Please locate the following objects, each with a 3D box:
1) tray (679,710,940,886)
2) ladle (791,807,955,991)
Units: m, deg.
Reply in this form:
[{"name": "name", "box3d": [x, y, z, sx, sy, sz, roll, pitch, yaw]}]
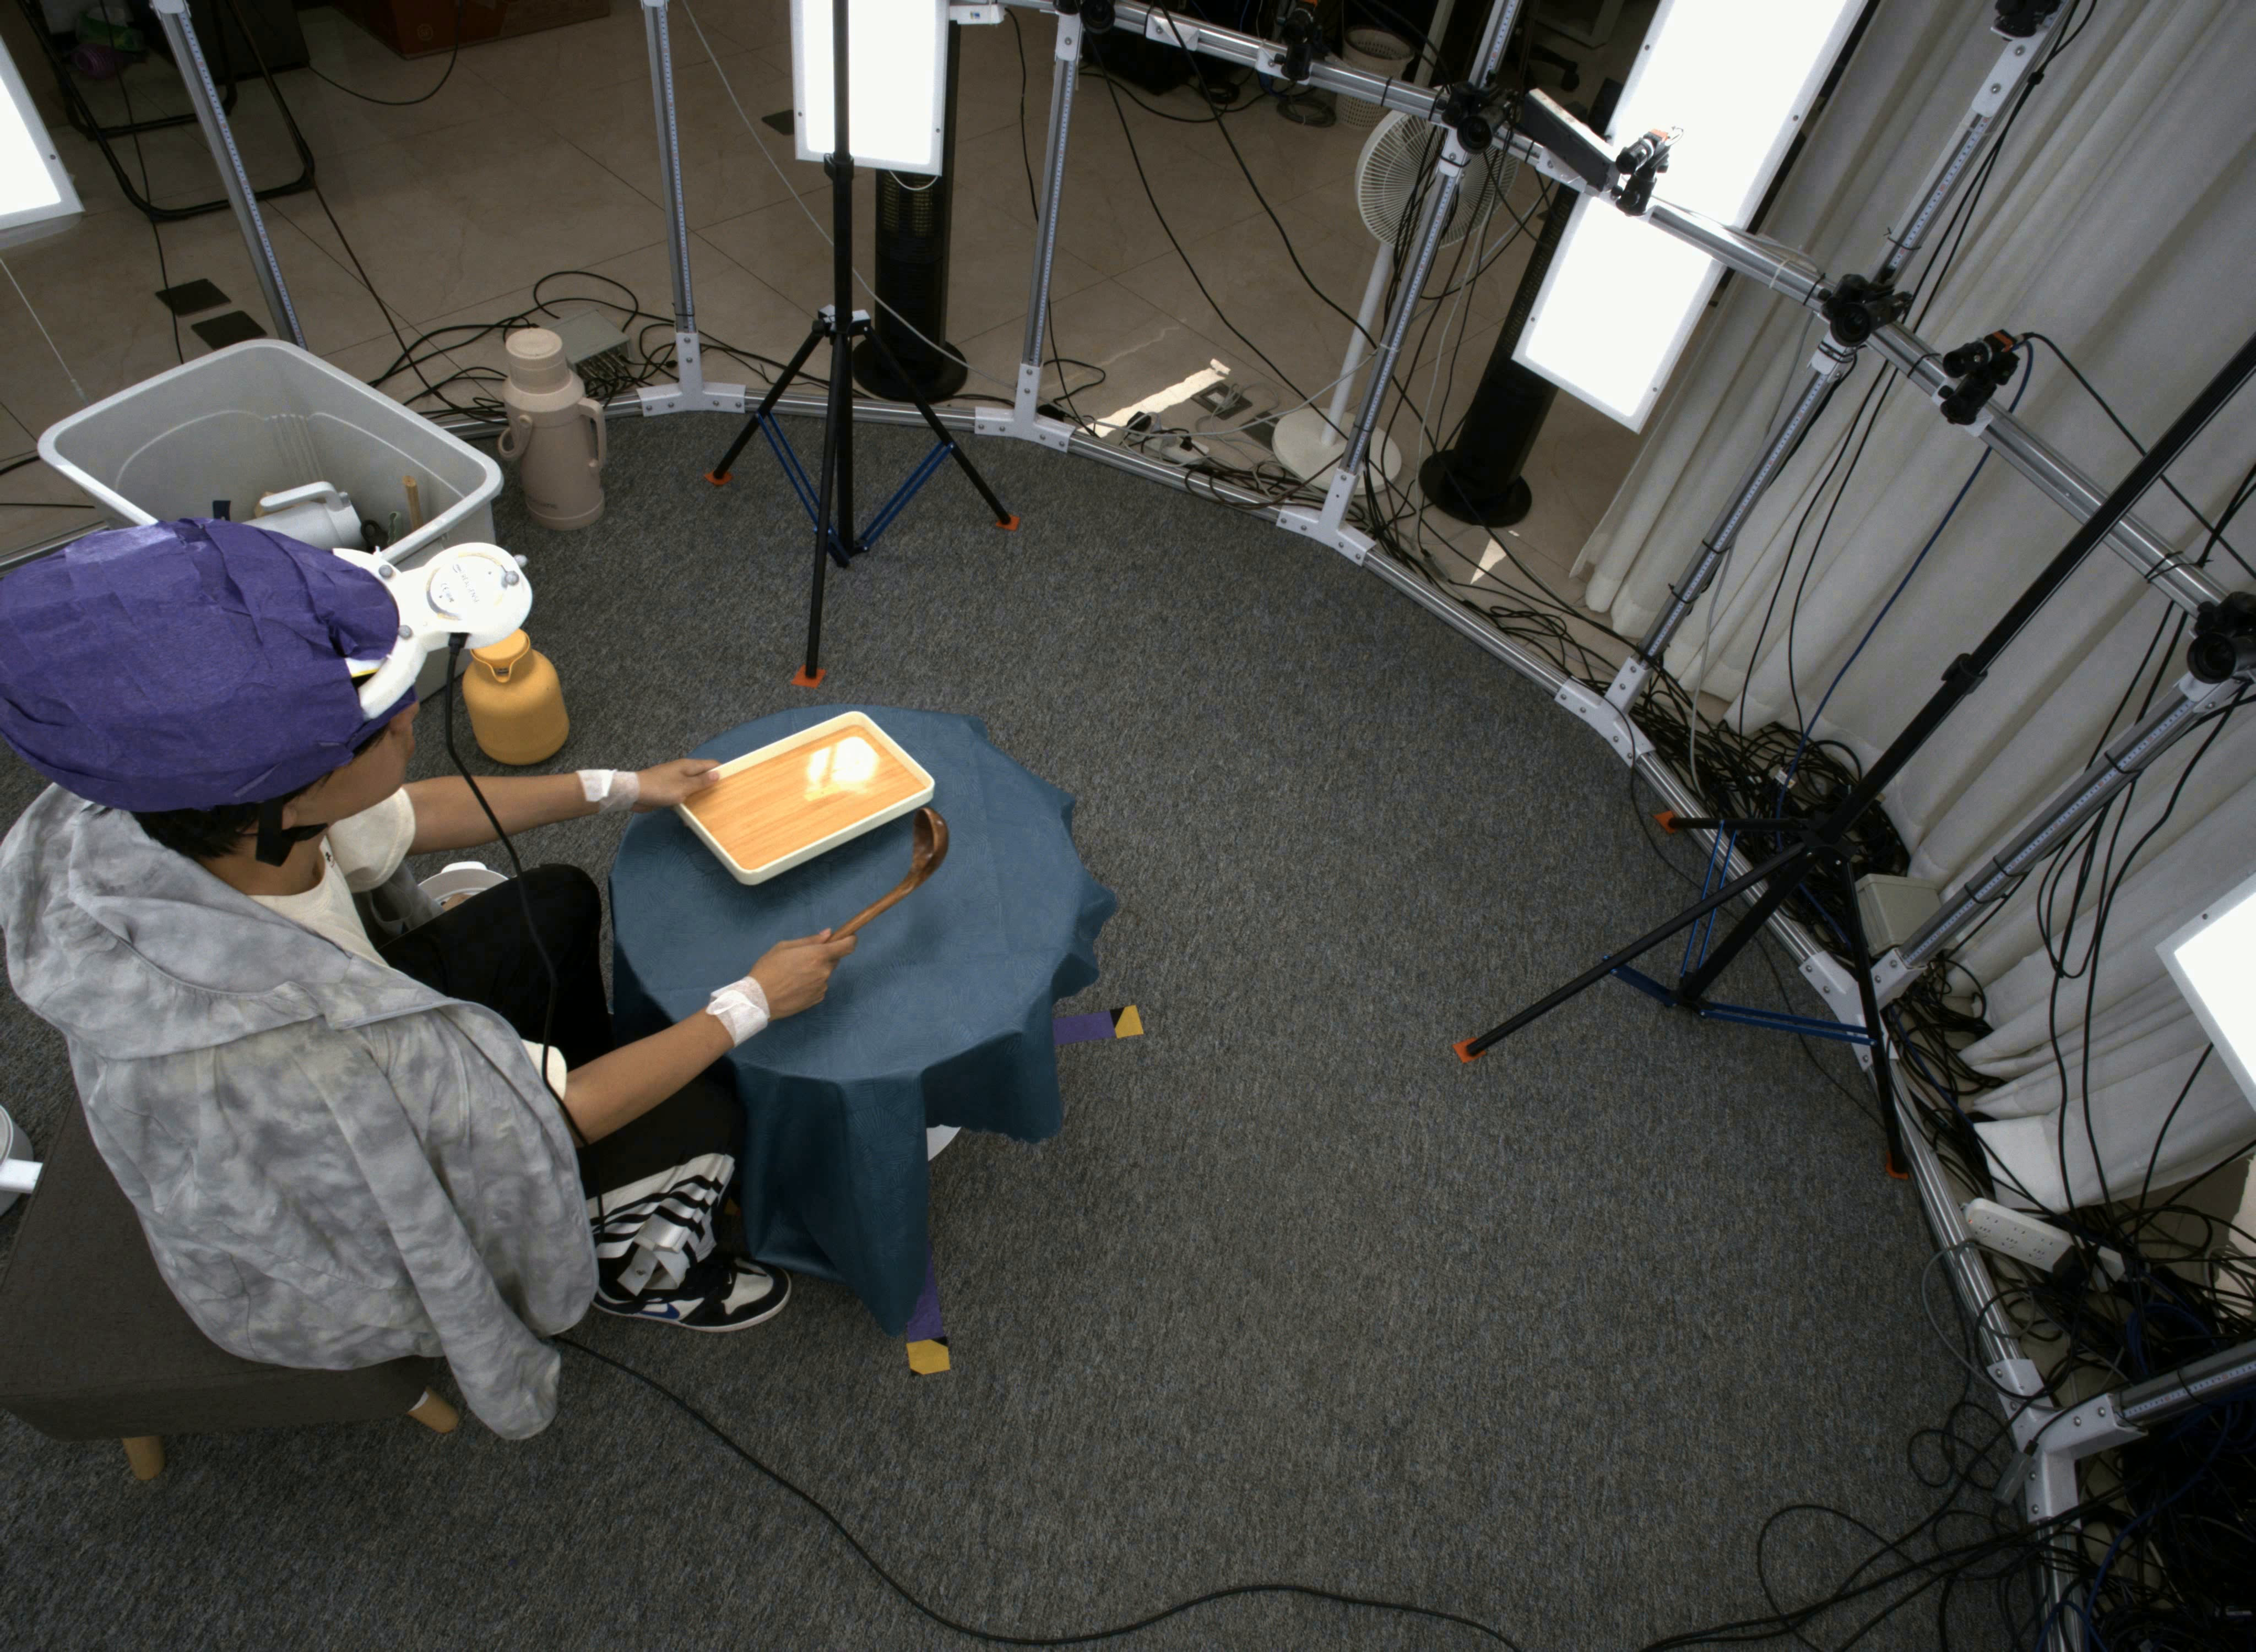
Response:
[{"name": "tray", "box3d": [-0.417, -0.045, 1.713, 0.302, 0.028, 0.186, -29, 60, -36]}, {"name": "ladle", "box3d": [-0.315, 0.081, 1.573, 0.274, 0.080, 0.078, -40, 105, -20]}]
